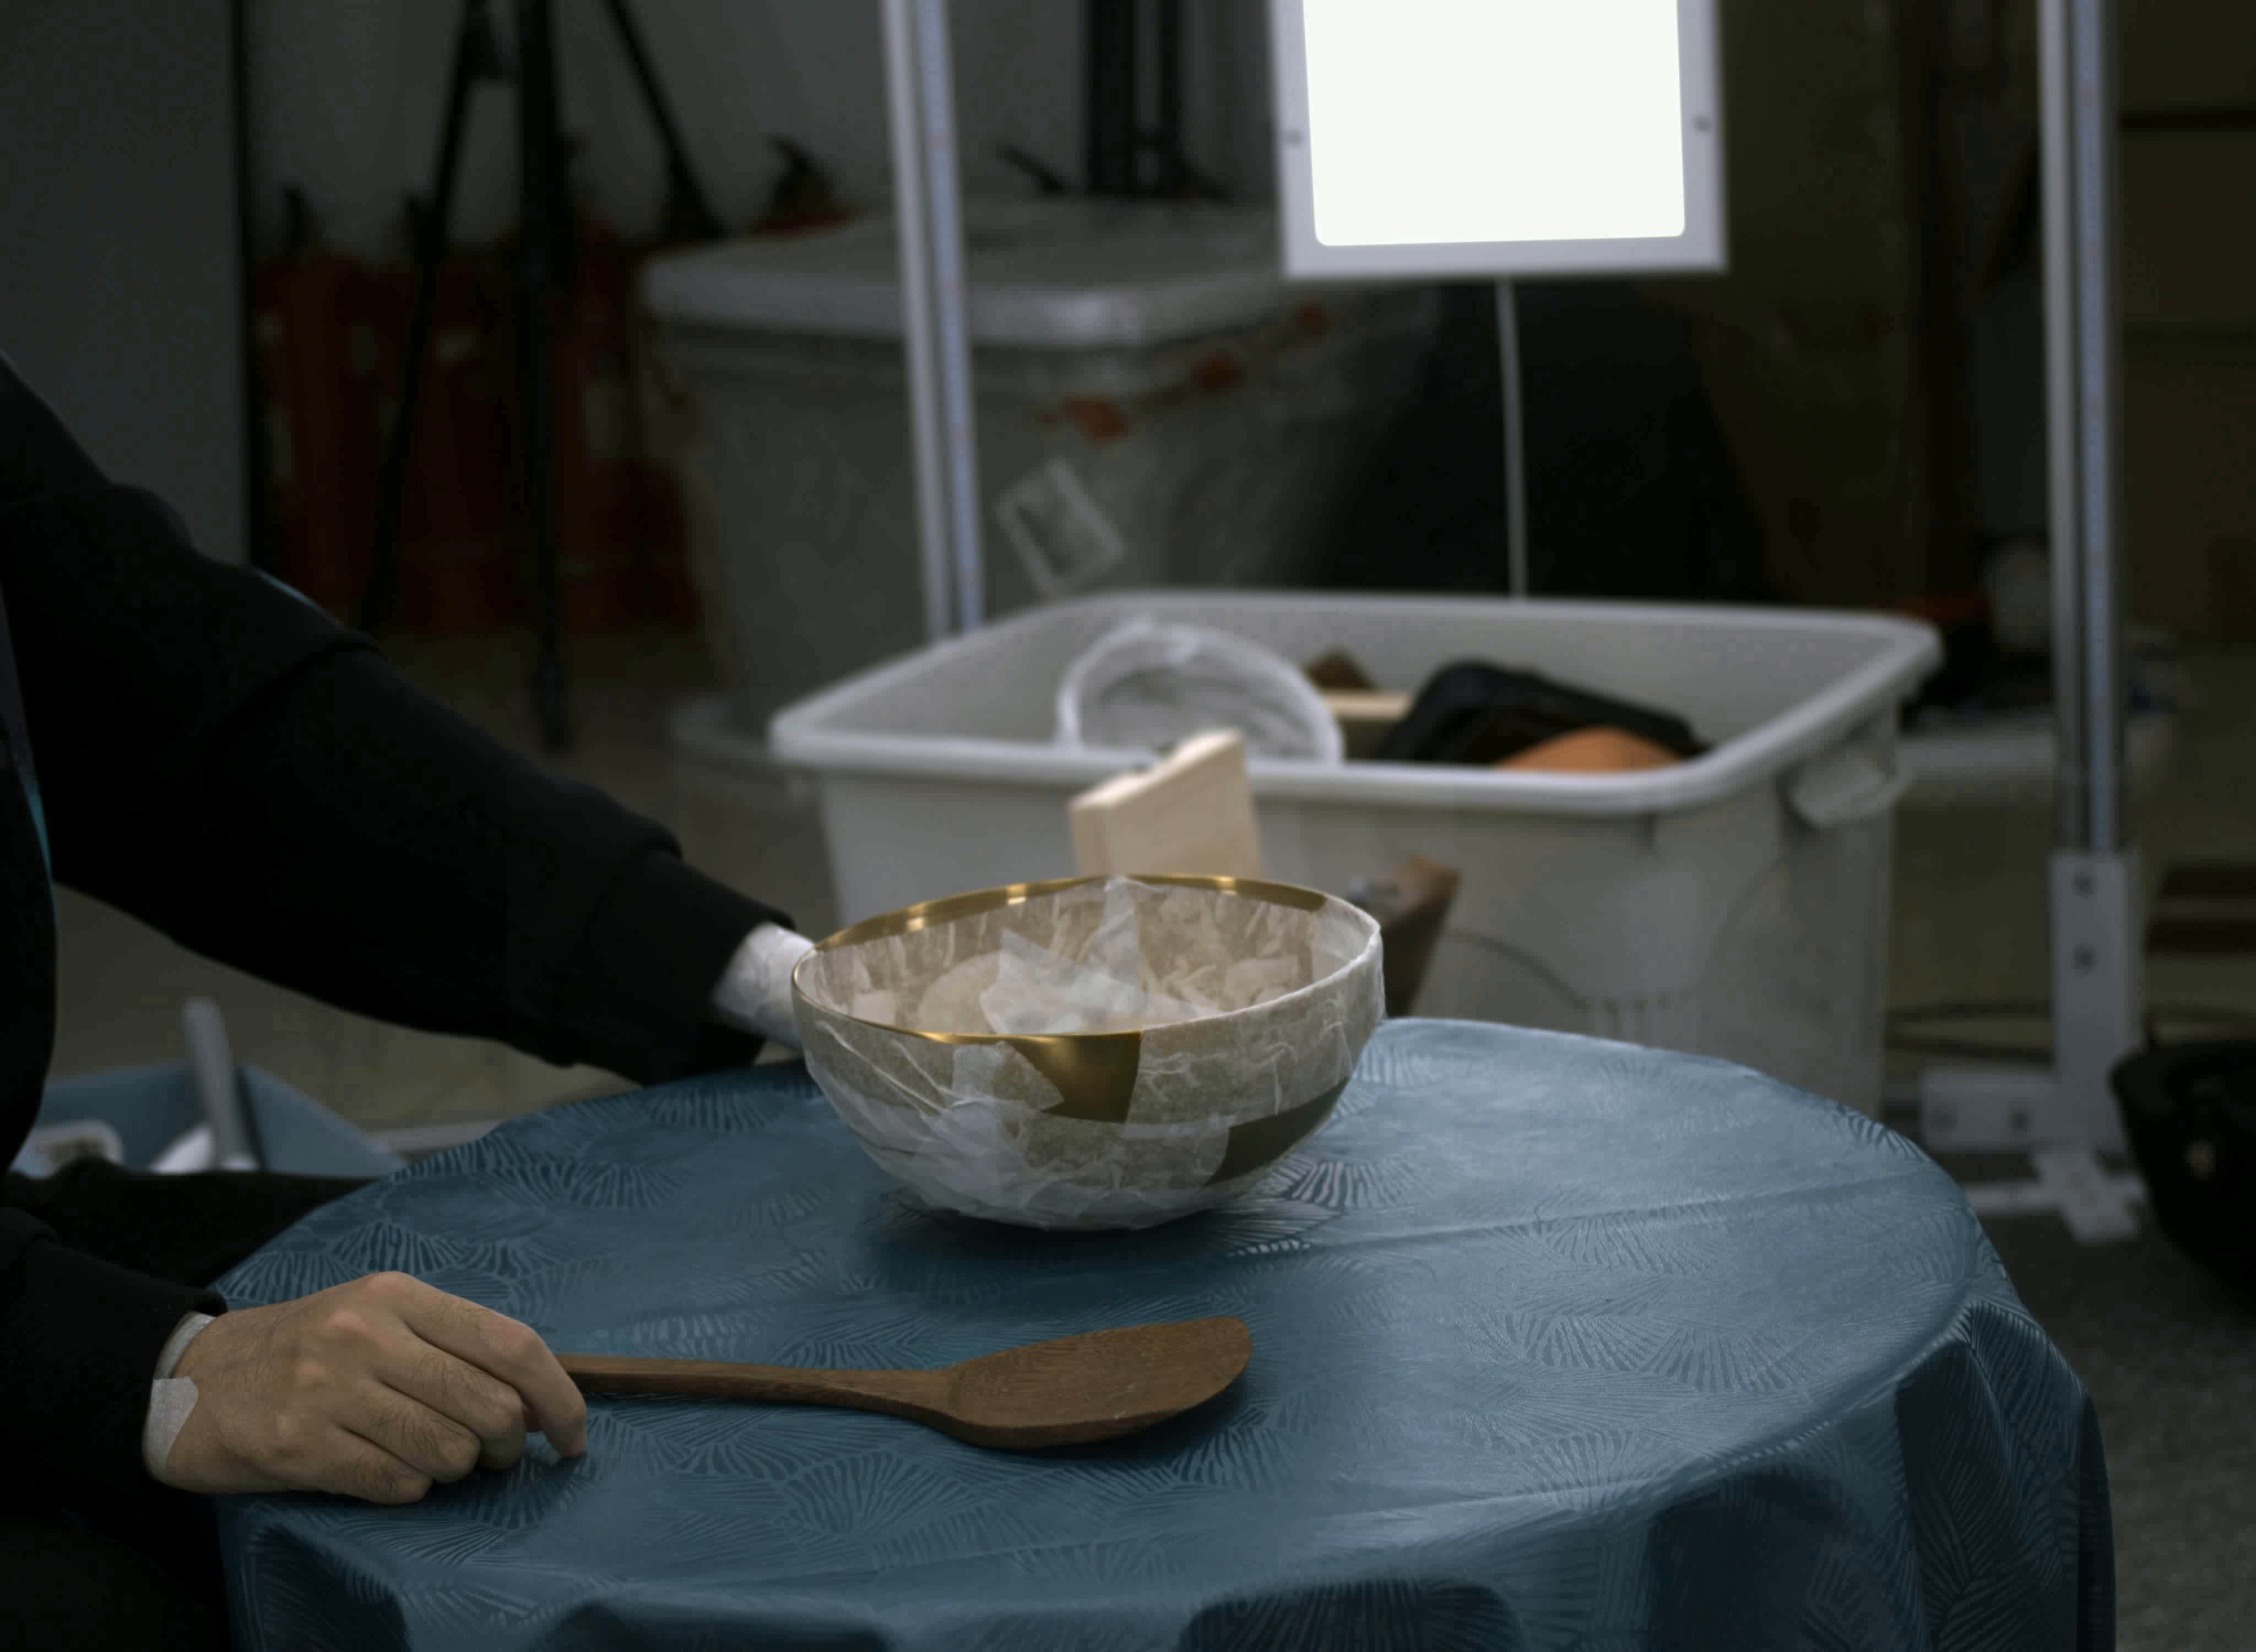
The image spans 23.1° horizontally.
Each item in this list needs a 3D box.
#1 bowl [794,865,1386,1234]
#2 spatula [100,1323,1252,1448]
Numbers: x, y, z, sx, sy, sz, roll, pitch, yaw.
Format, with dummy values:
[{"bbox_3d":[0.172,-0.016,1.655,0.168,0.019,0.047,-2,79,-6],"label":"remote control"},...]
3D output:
[{"bbox_3d":[-0.012,0.084,1.881,0.214,0.095,0.214,-7,15,0],"label":"bowl"},{"bbox_3d":[-0.149,0.173,1.735,0.391,0.016,0.094,-1,14,19],"label":"spatula"}]
